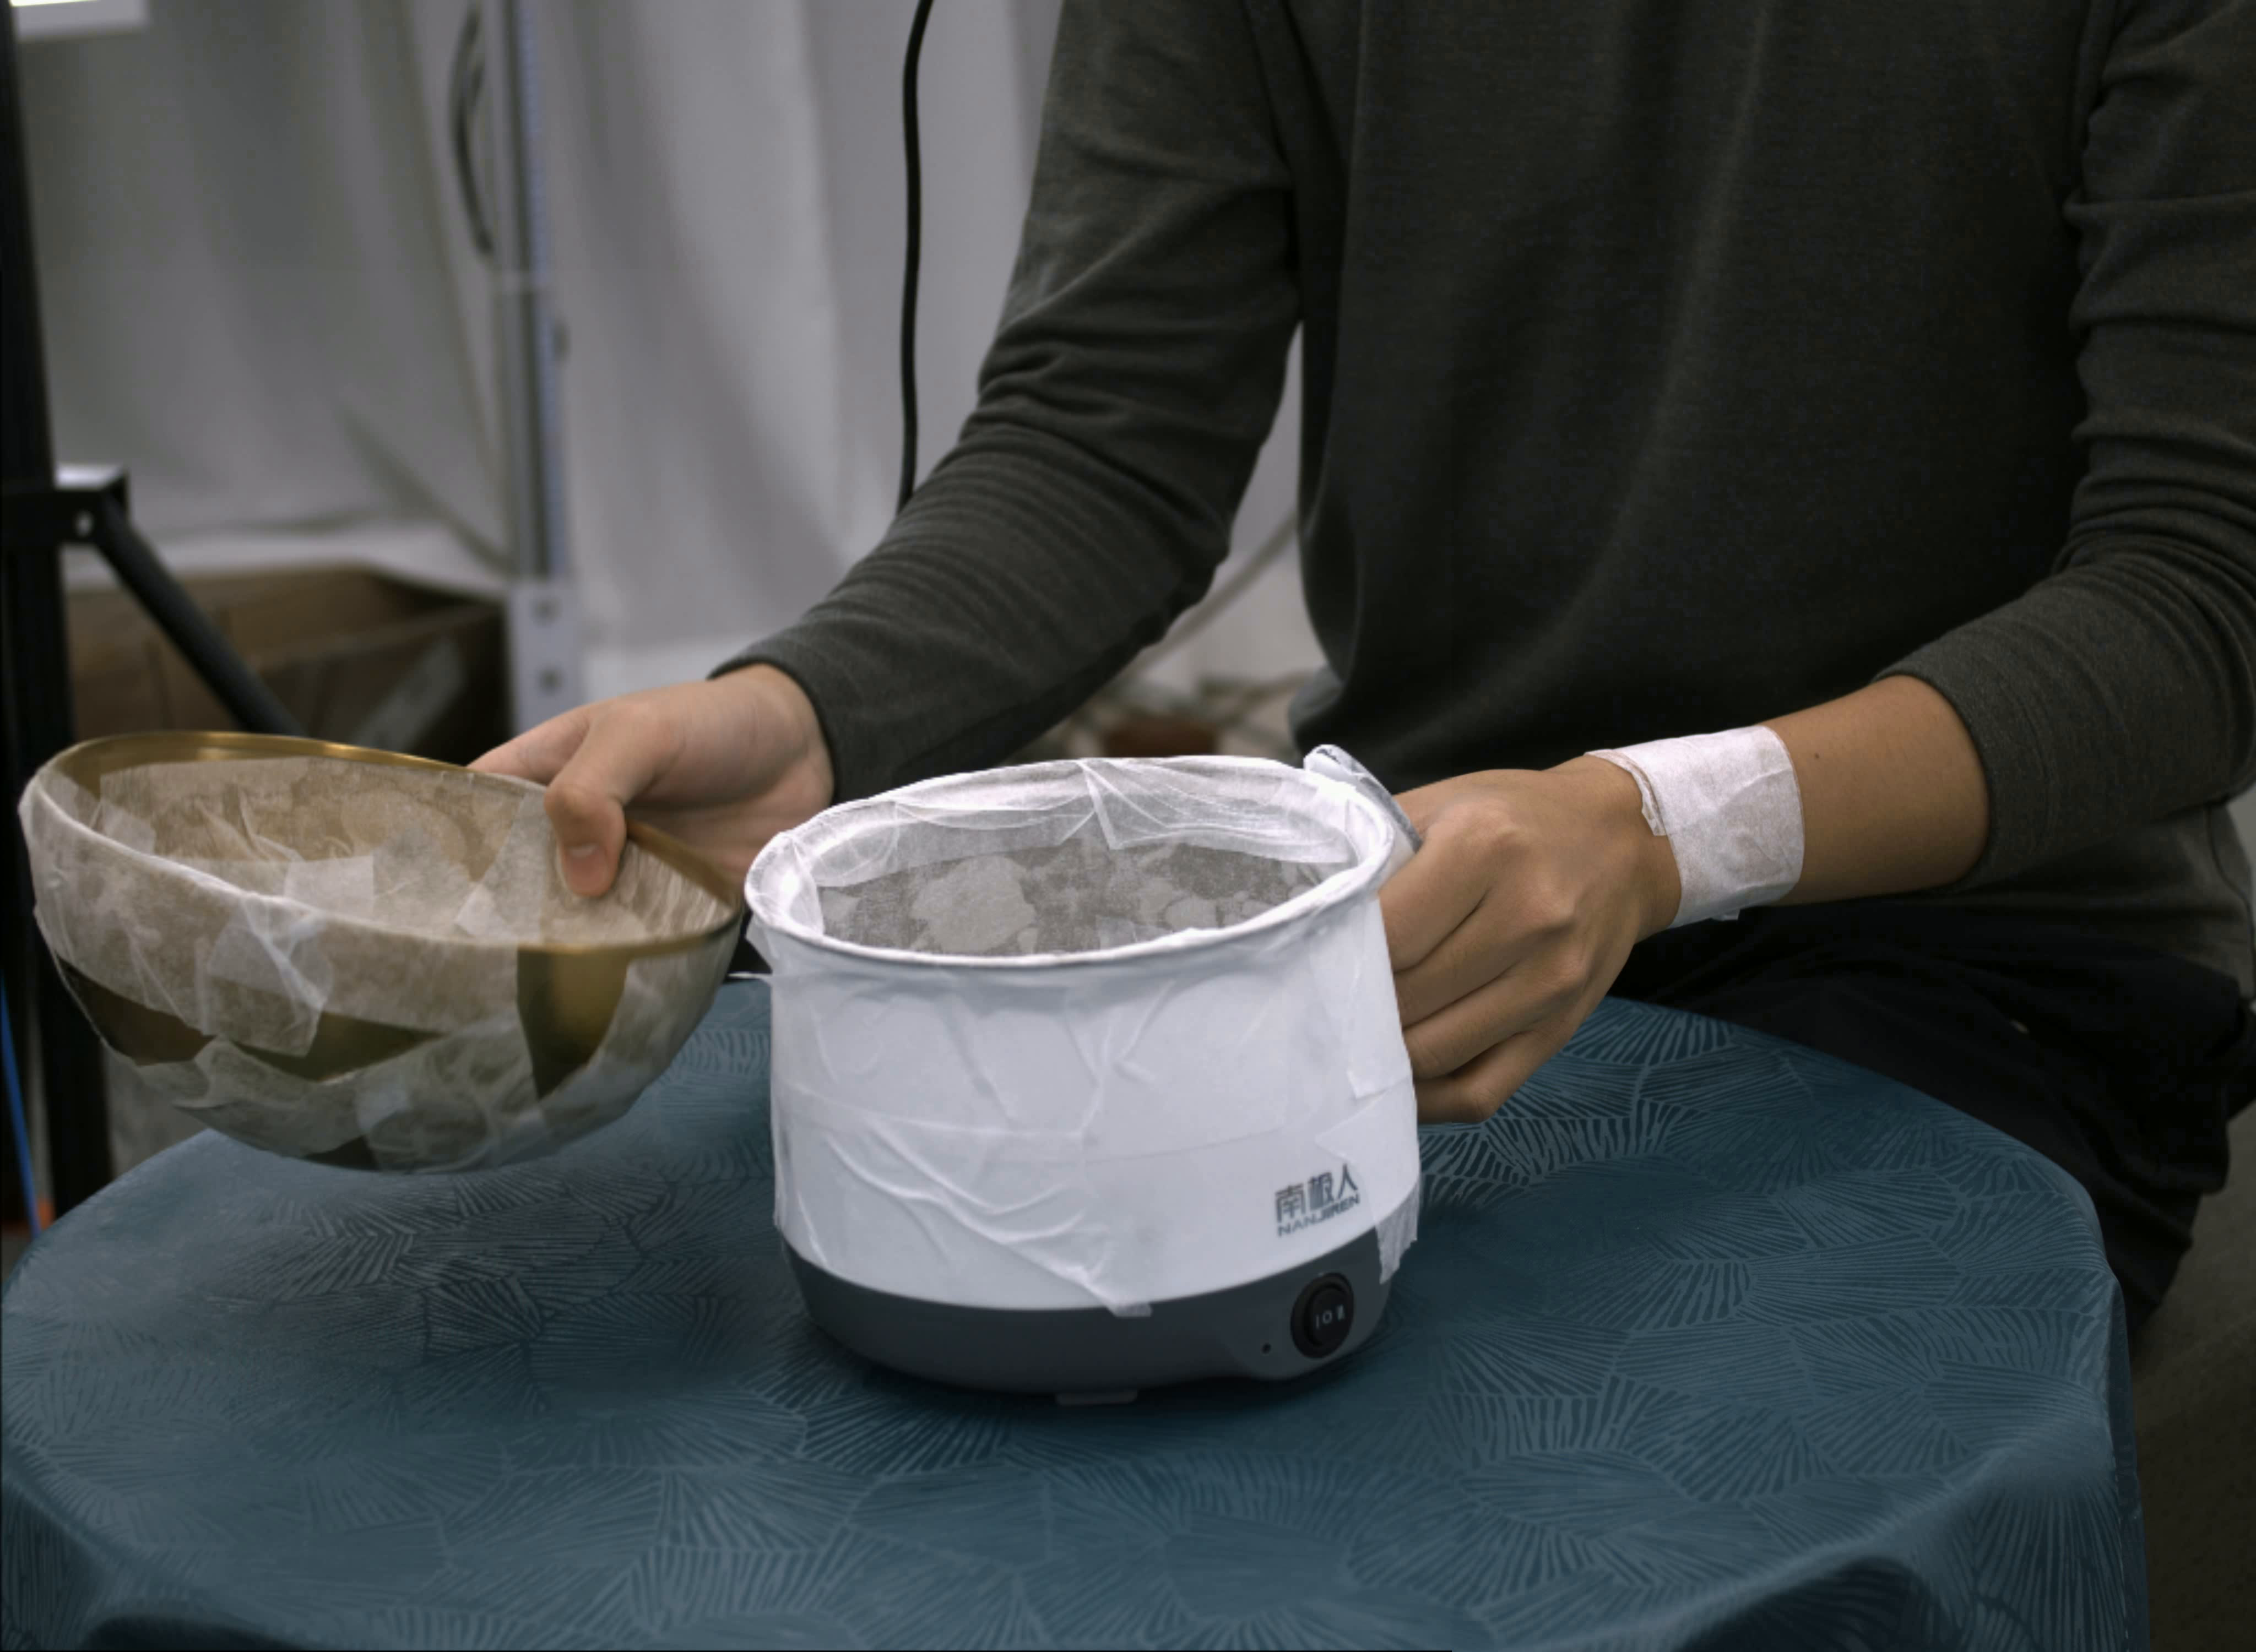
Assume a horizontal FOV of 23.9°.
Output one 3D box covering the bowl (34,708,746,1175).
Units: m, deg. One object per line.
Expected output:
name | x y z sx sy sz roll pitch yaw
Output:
bowl | -0.212 0.044 1.512 0.213 0.095 0.215 13 12 -4

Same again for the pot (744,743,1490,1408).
pot | 0.009 0.060 1.463 0.228 0.136 0.183 -19 23 -40
